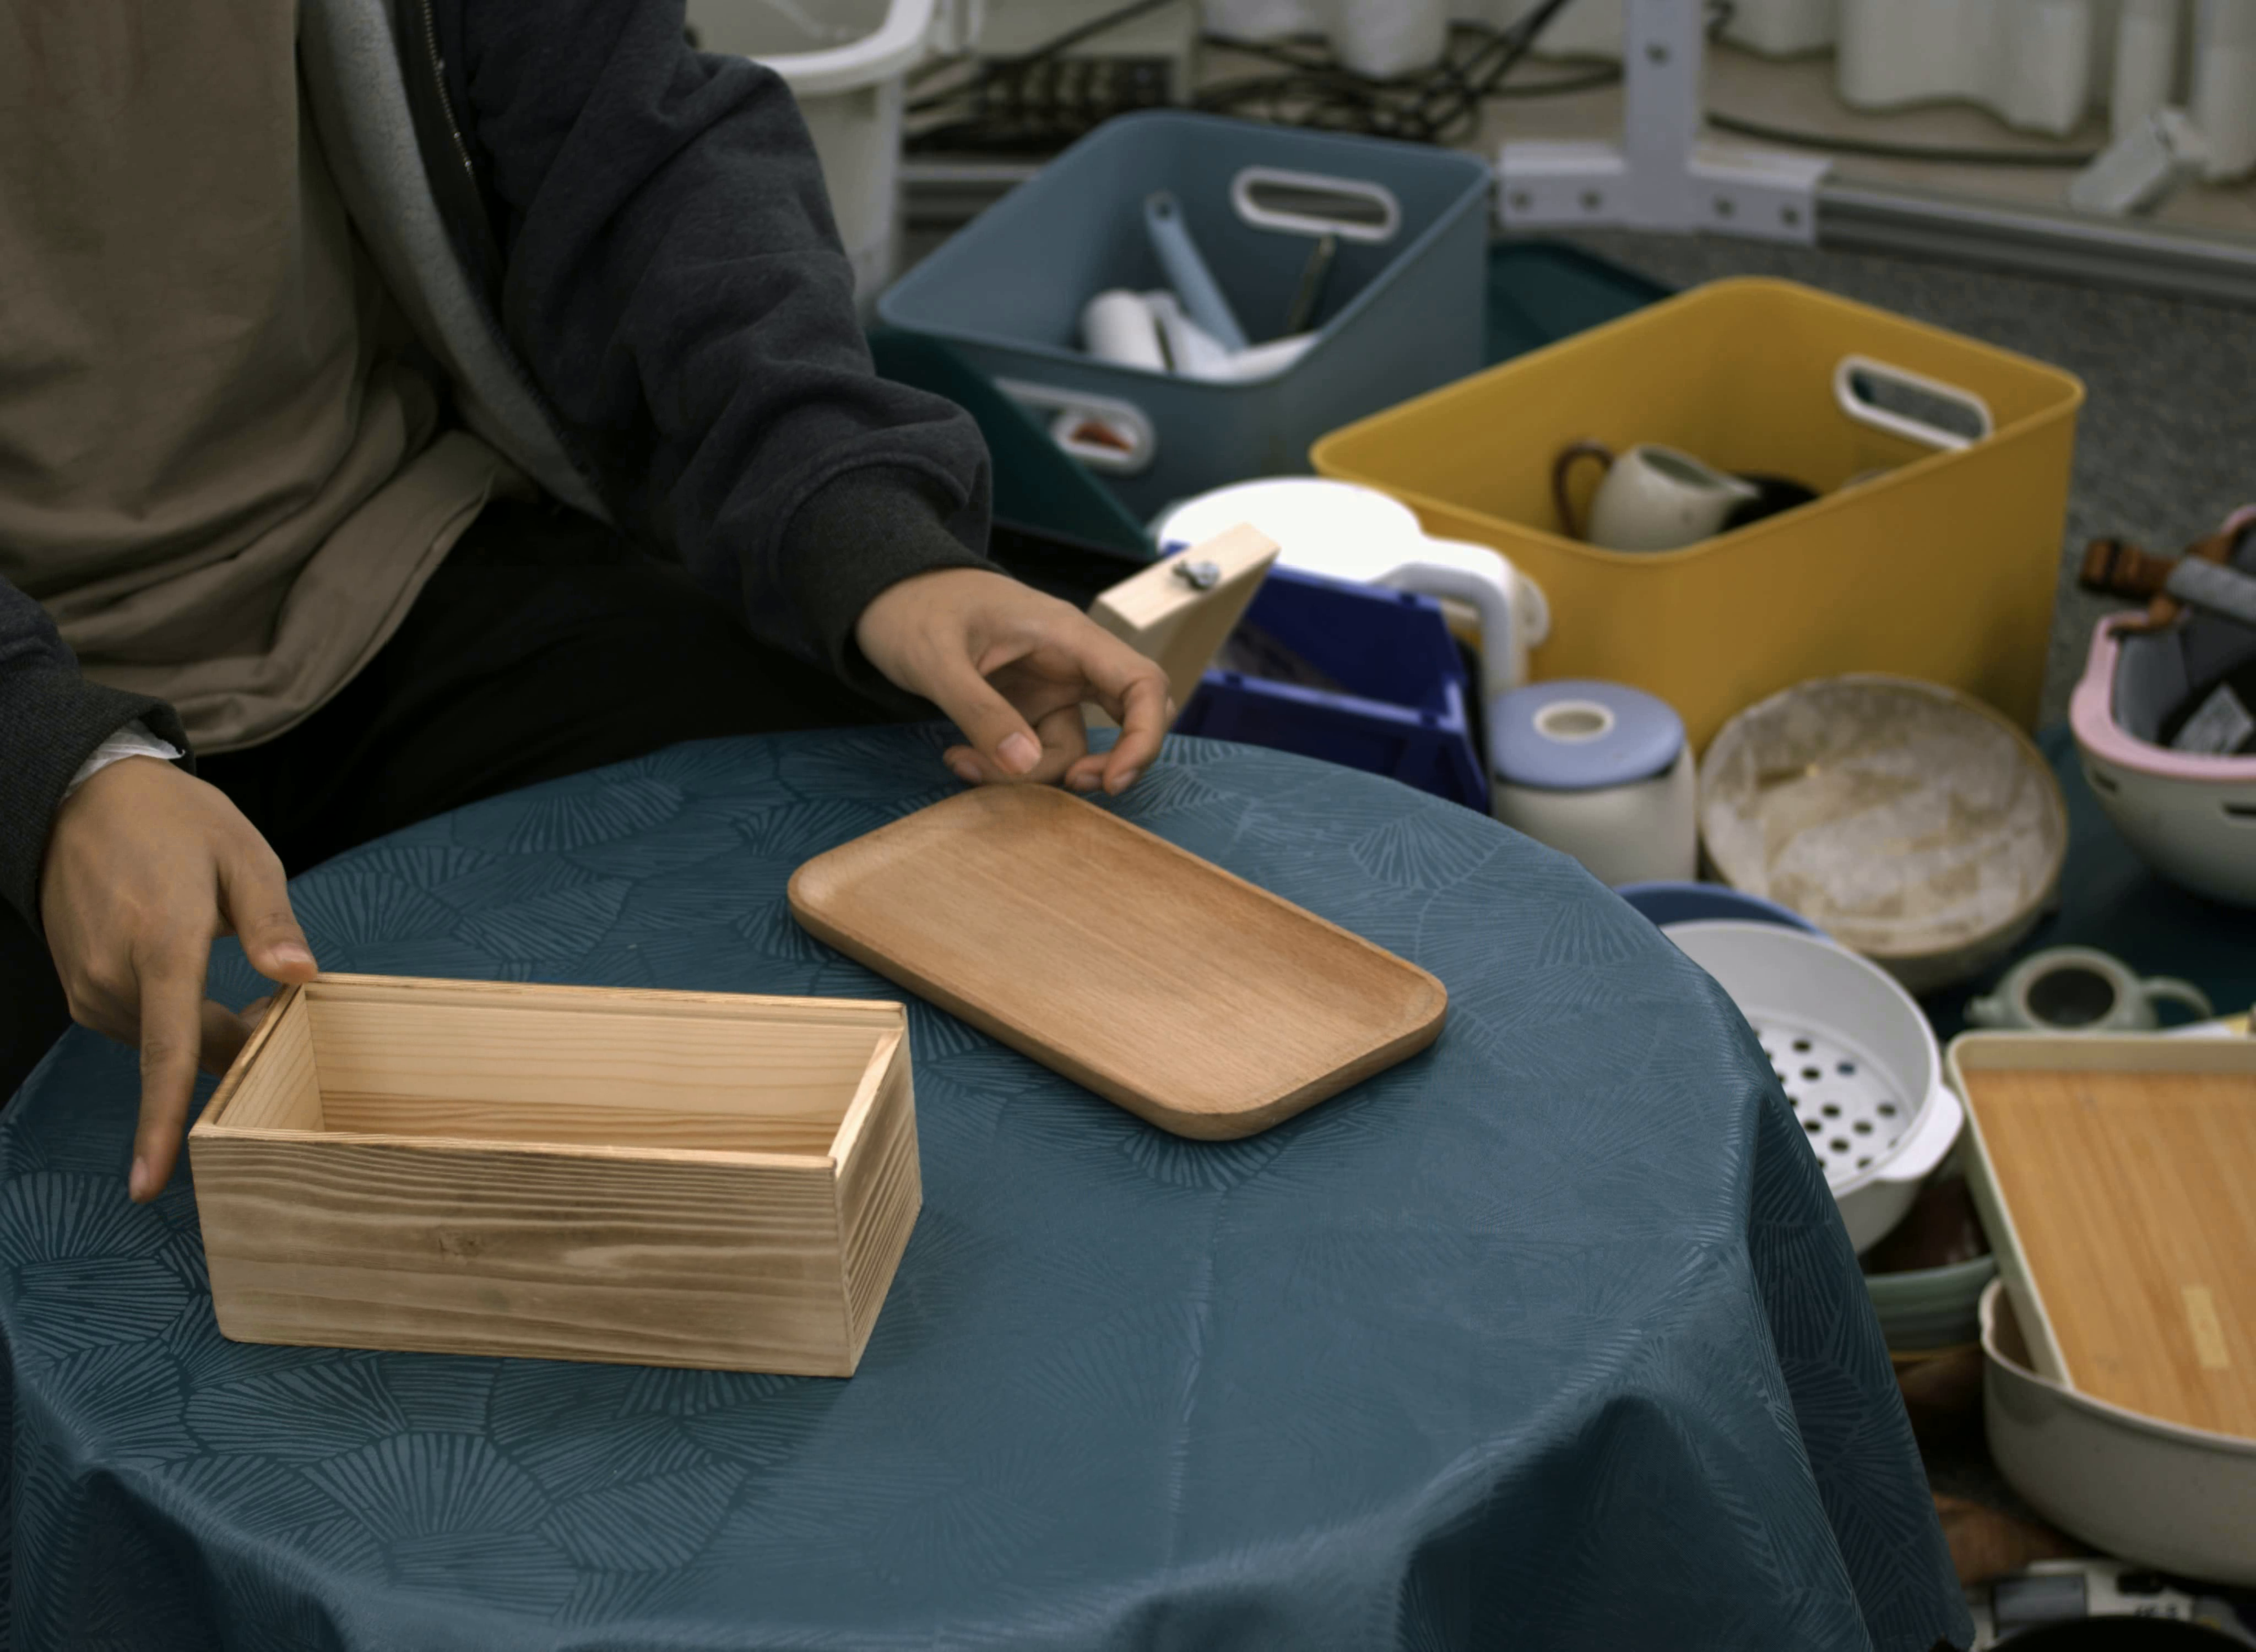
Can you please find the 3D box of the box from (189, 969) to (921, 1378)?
[{"bbox_3d":[-0.183,0.111,1.815,0.210,0.079,0.109,2,27,10],"label":"box"}]

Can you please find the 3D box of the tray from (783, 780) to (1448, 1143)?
[{"bbox_3d":[-0.007,0.046,1.990,0.132,0.022,0.250,-21,32,-35],"label":"tray"}]
